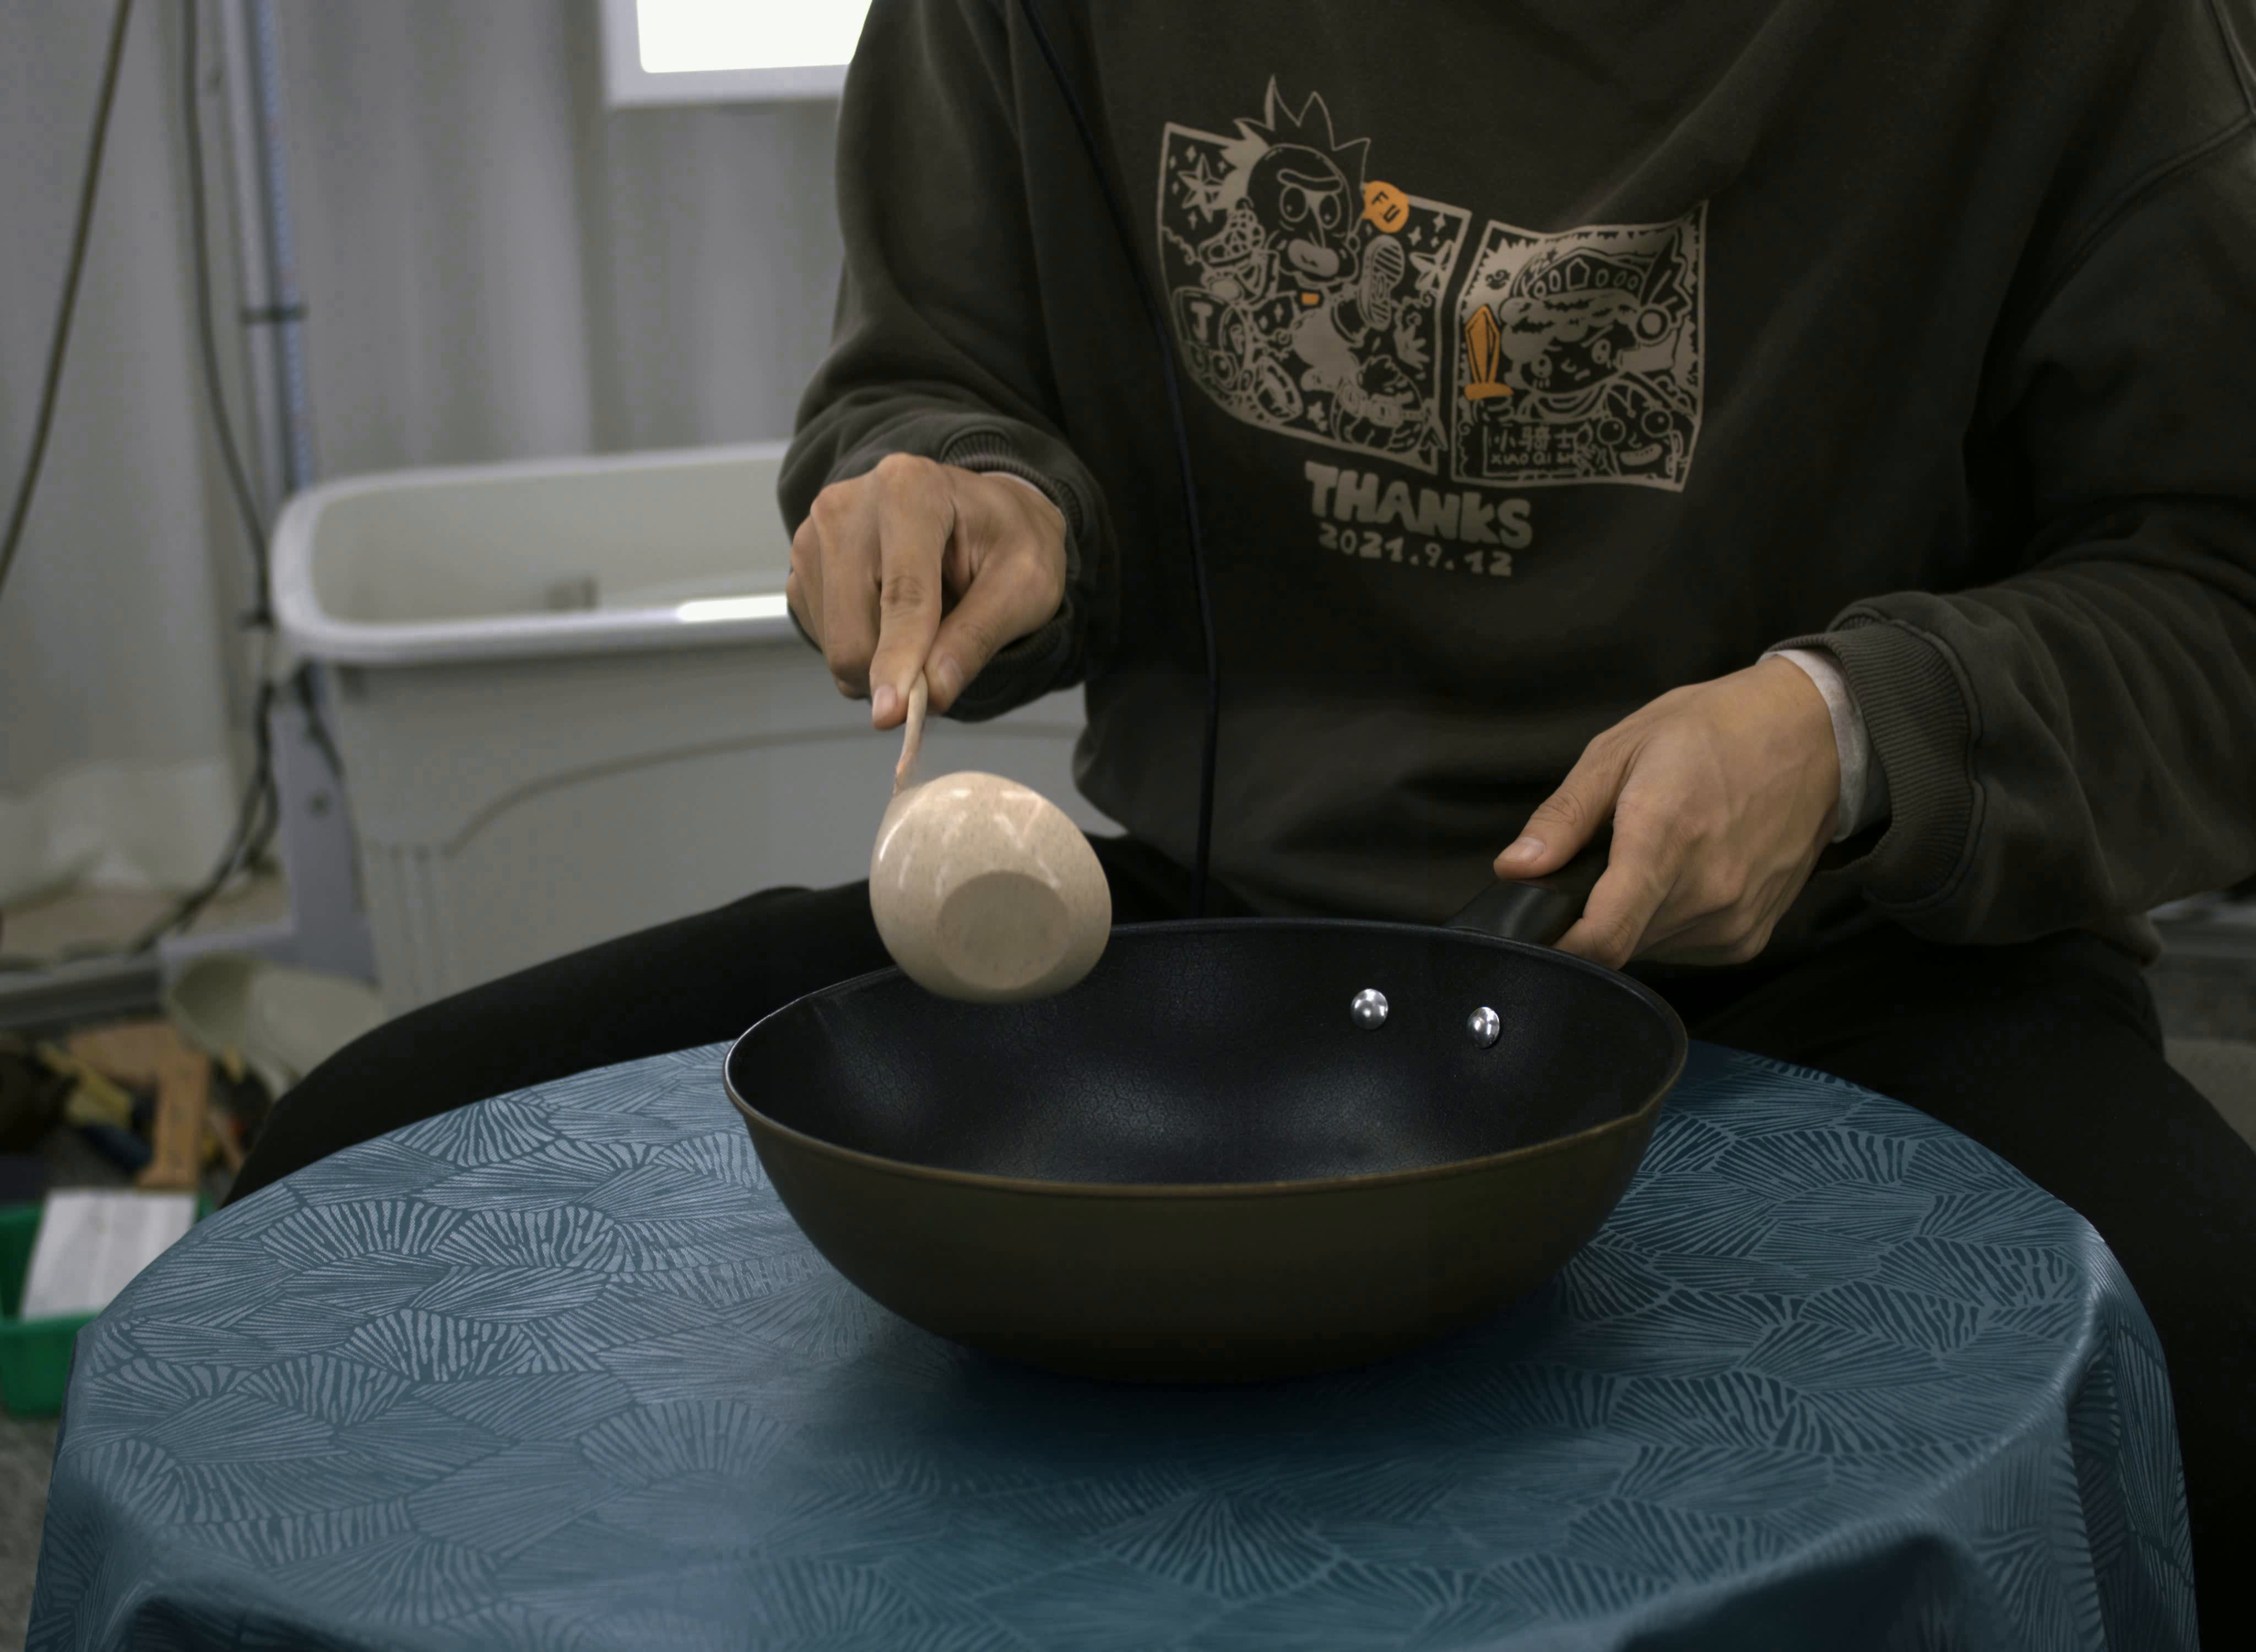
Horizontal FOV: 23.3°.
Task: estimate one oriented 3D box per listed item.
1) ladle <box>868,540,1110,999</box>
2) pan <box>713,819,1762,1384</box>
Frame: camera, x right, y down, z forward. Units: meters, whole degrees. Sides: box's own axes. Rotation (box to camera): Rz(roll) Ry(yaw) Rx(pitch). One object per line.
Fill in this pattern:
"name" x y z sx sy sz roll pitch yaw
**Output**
"ladle" -0.042 -0.030 1.711 0.072 0.071 0.257 -1 28 0
"pan" 0.071 0.081 1.679 0.289 0.086 0.463 7 16 33
